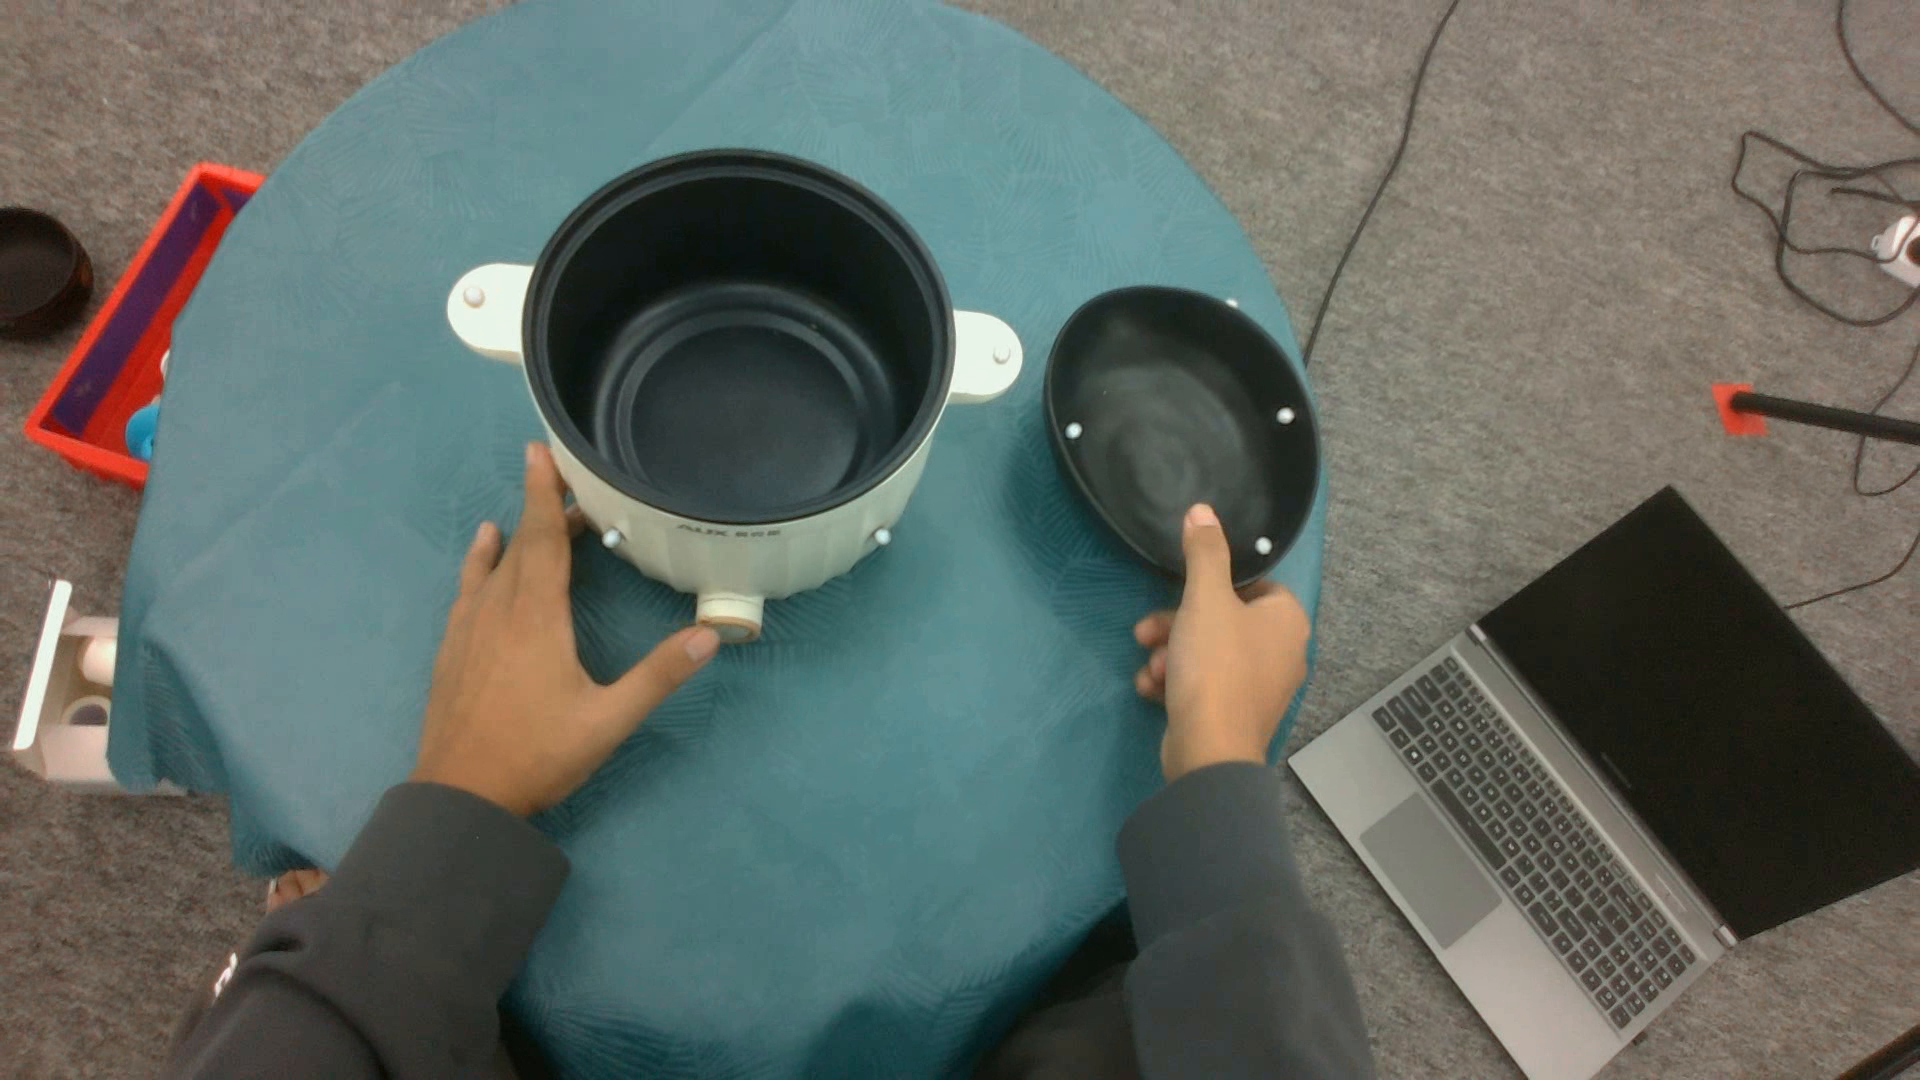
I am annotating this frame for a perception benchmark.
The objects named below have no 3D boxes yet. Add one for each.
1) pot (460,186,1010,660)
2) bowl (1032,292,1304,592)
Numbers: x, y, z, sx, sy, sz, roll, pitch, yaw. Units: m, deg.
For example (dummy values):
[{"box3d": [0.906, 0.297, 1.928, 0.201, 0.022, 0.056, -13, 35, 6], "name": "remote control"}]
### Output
[{"box3d": [-0.102, -0.051, 0.662, 0.240, 0.142, 0.191, 0, 63, -6], "name": "pot"}, {"box3d": [0.106, -0.047, 0.729, 0.137, 0.066, 0.170, -21, 72, -15], "name": "bowl"}]
